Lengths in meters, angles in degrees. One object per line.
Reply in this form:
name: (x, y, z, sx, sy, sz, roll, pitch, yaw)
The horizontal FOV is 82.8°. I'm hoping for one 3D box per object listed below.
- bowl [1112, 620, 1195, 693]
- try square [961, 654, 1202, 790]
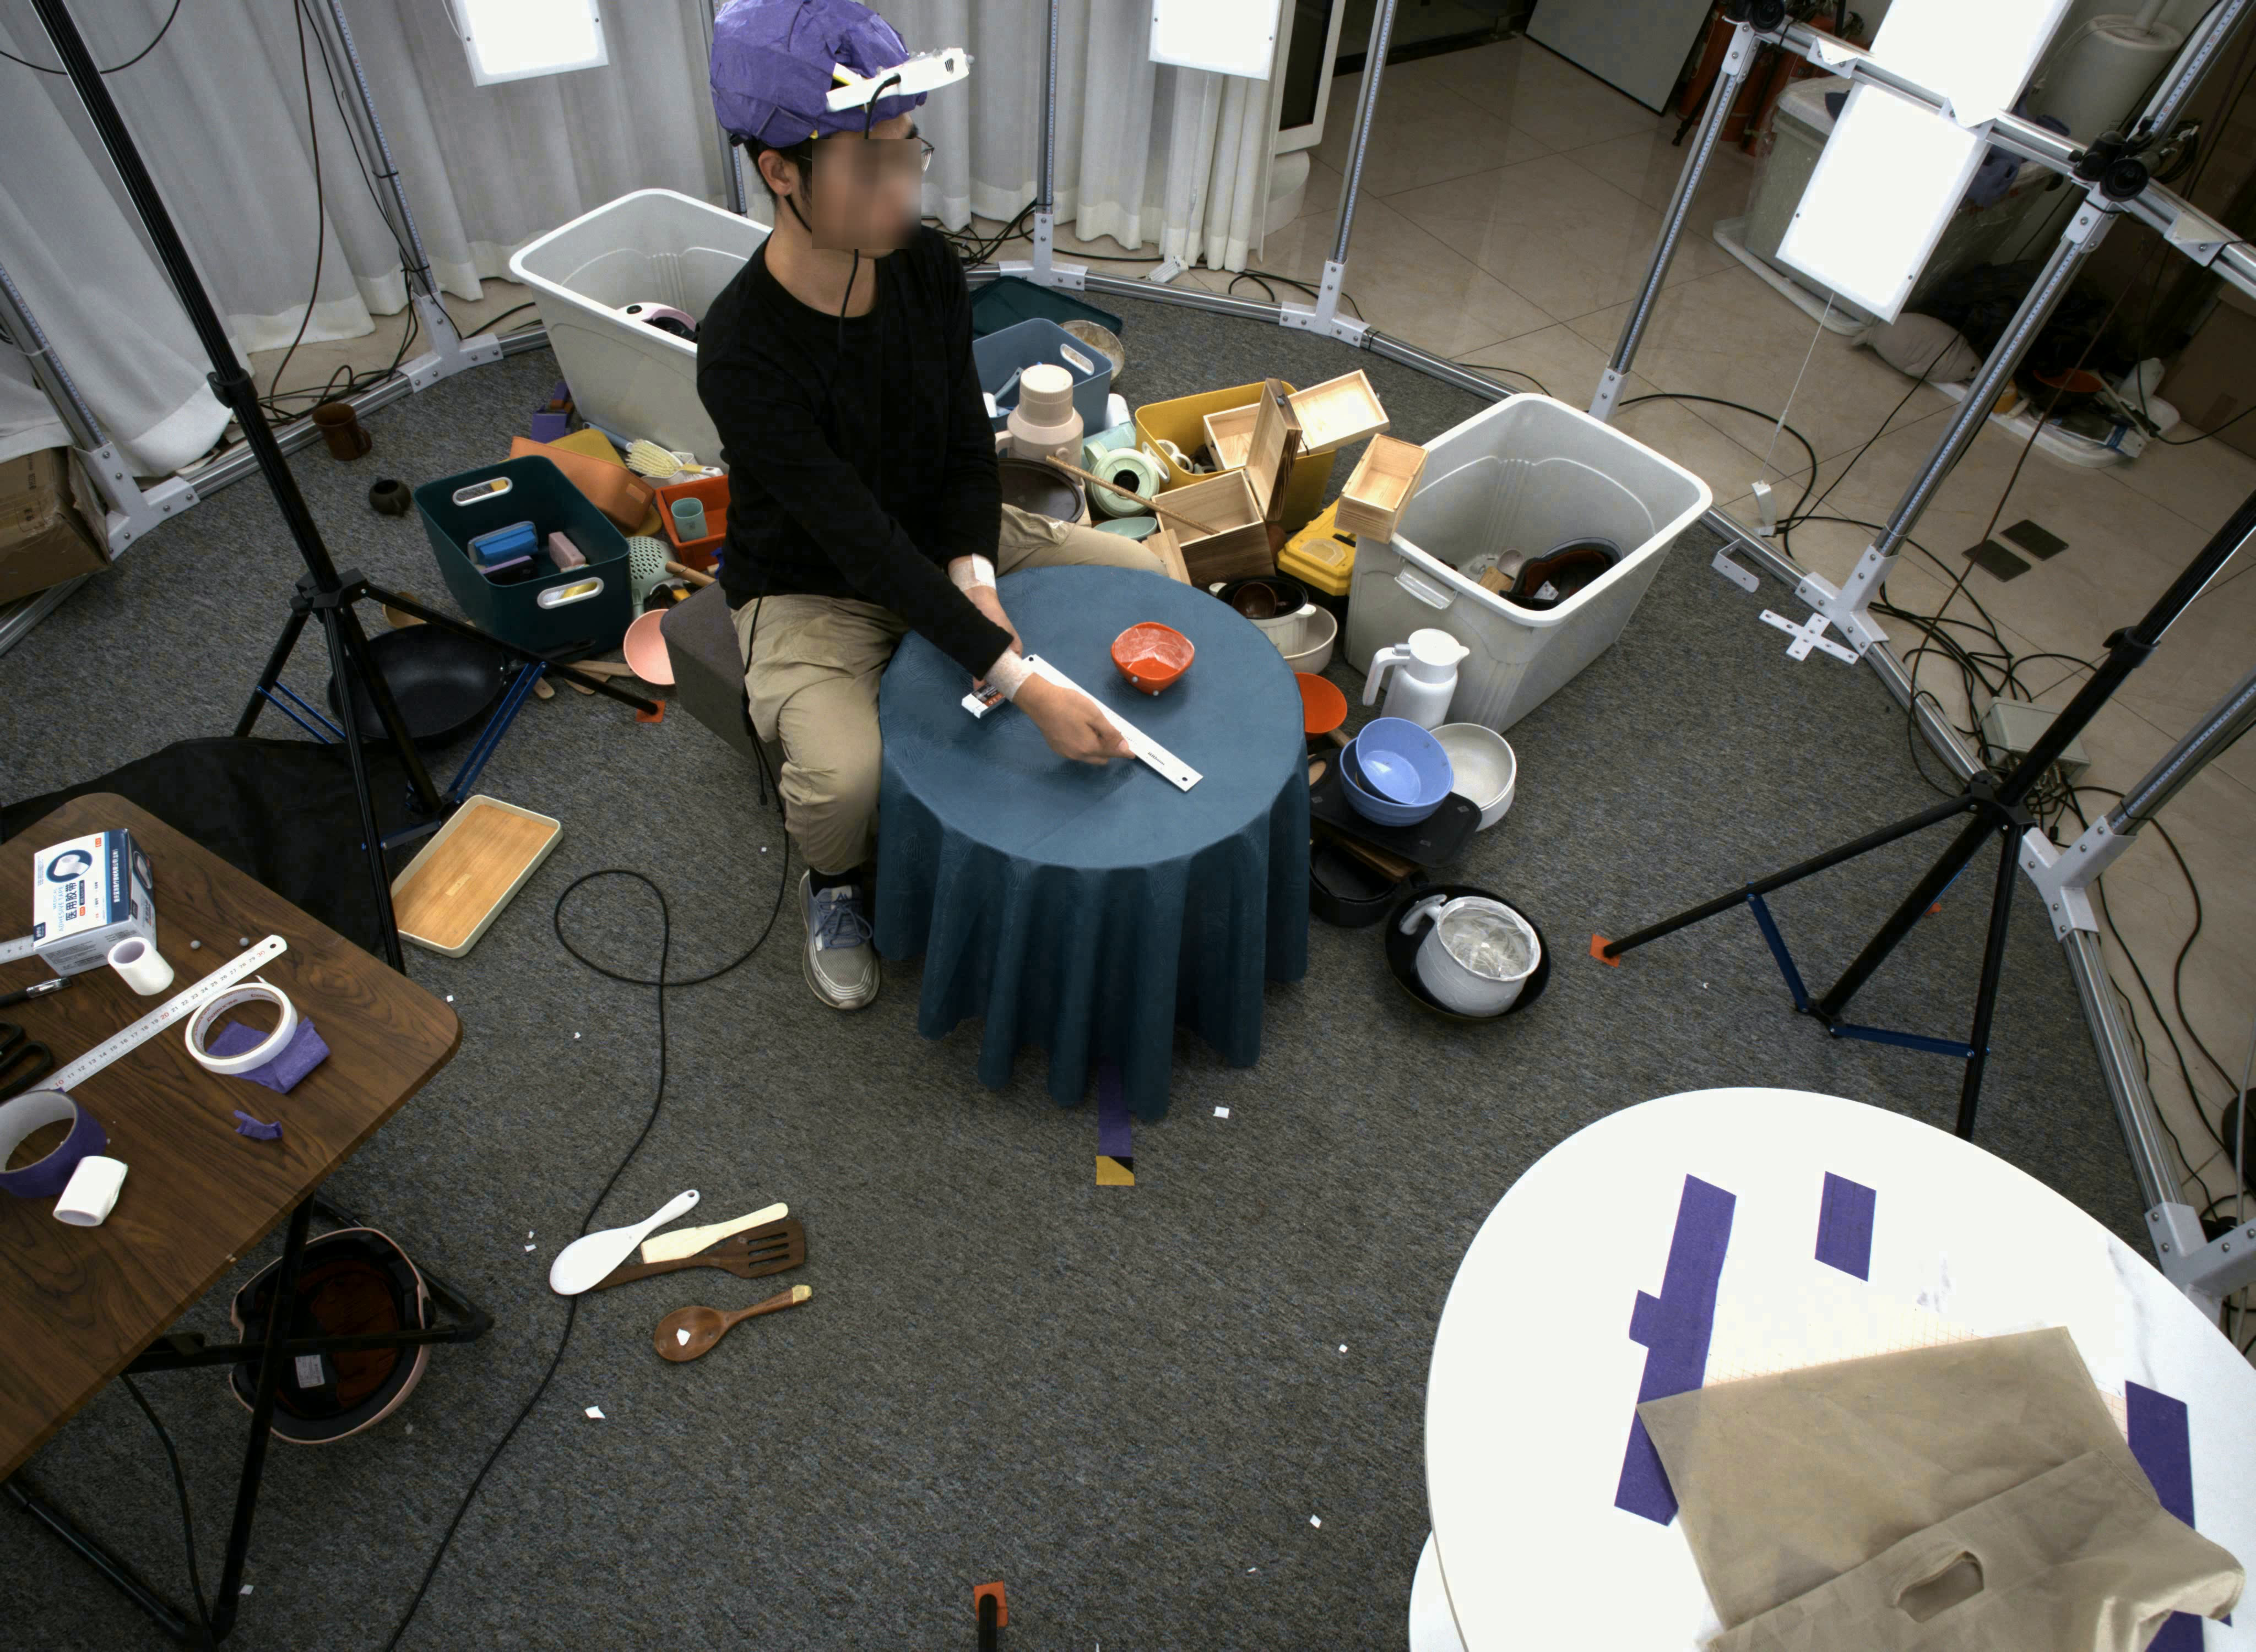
bowl: (0.034, -0.236, 1.841, 0.119, 0.050, 0.122, 3, 52, -4)
try square: (-0.063, -0.121, 1.743, 0.316, 0.015, 0.154, 37, 51, 19)
